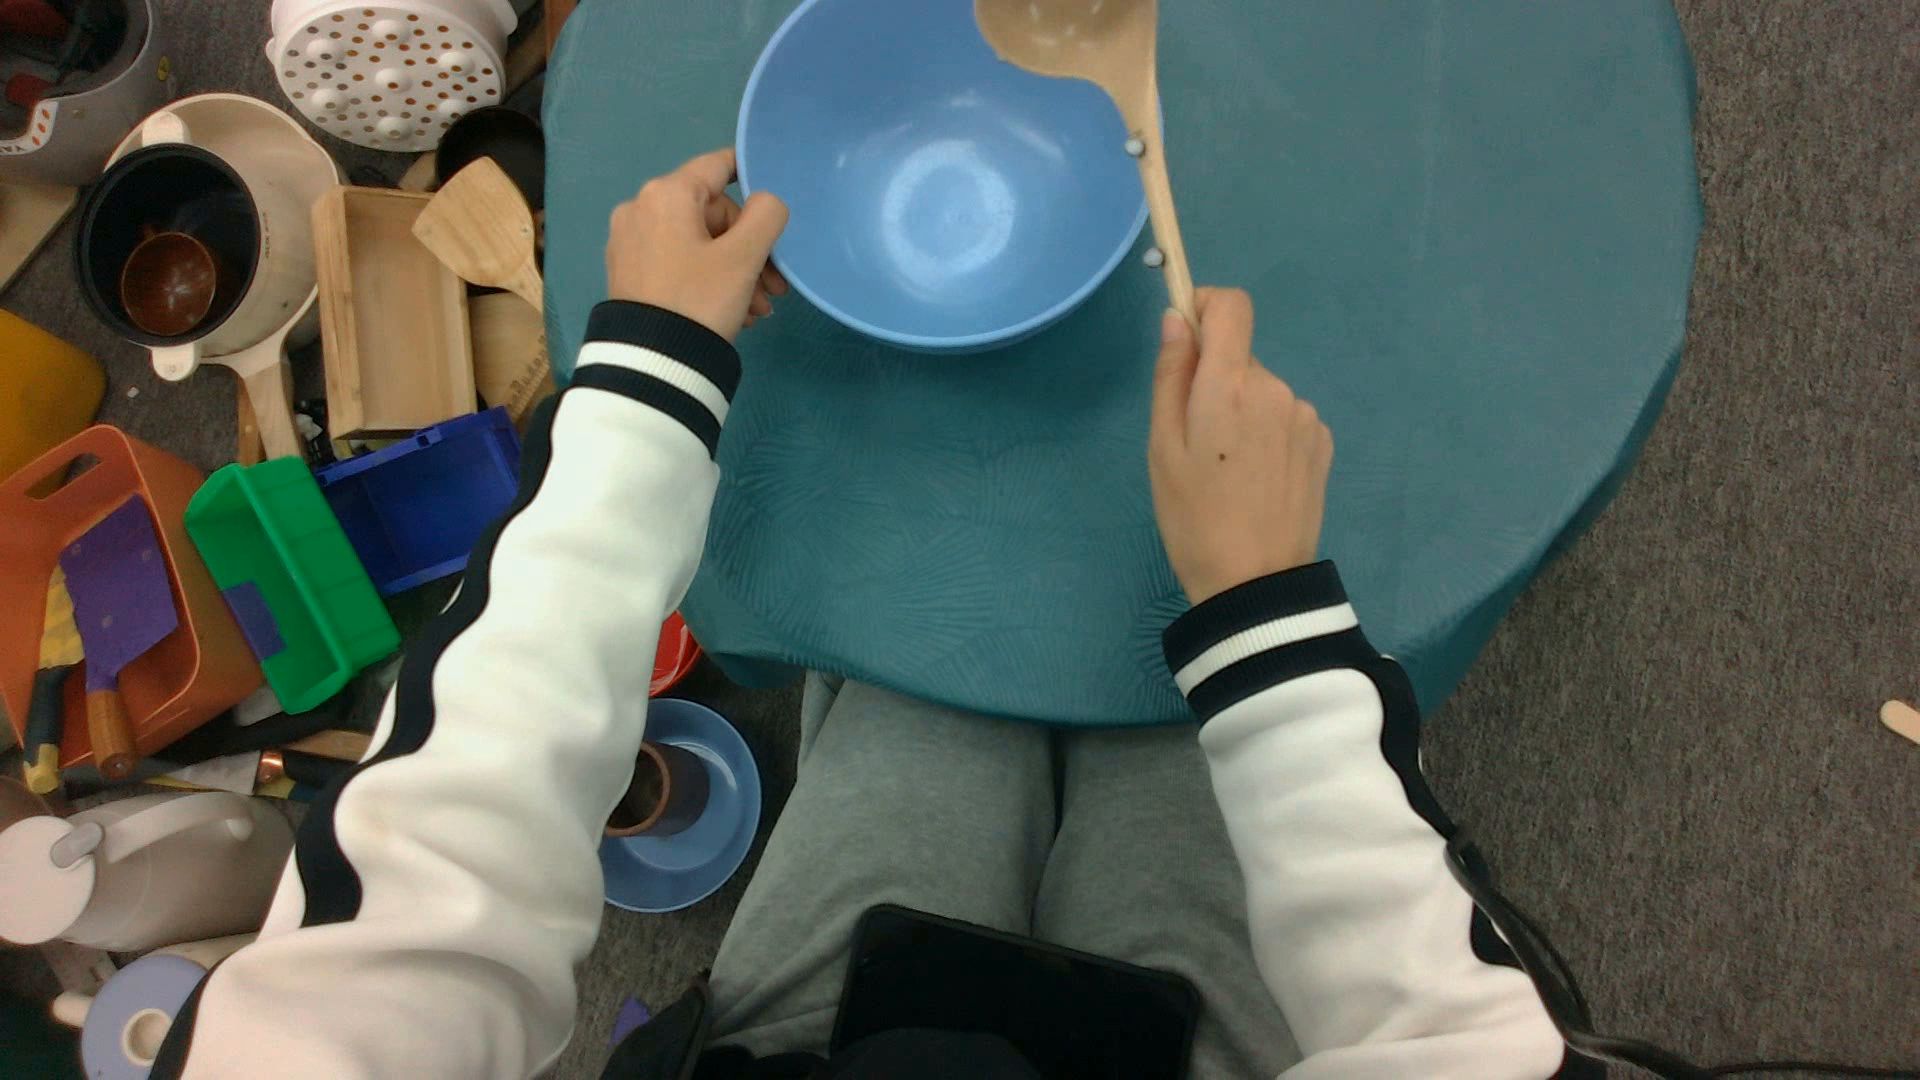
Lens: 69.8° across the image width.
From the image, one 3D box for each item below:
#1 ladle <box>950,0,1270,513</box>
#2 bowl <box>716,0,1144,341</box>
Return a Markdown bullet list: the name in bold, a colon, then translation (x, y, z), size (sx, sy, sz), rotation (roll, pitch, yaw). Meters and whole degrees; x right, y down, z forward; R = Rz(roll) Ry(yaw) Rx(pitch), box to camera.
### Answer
- **ladle**: translation (0.062, -0.127, 0.564), size (0.073, 0.072, 0.254), rotation (-12, 83, -44)
- **bowl**: translation (-0.012, -0.179, 0.673), size (0.196, 0.095, 0.197), rotation (-1, 76, 3)
